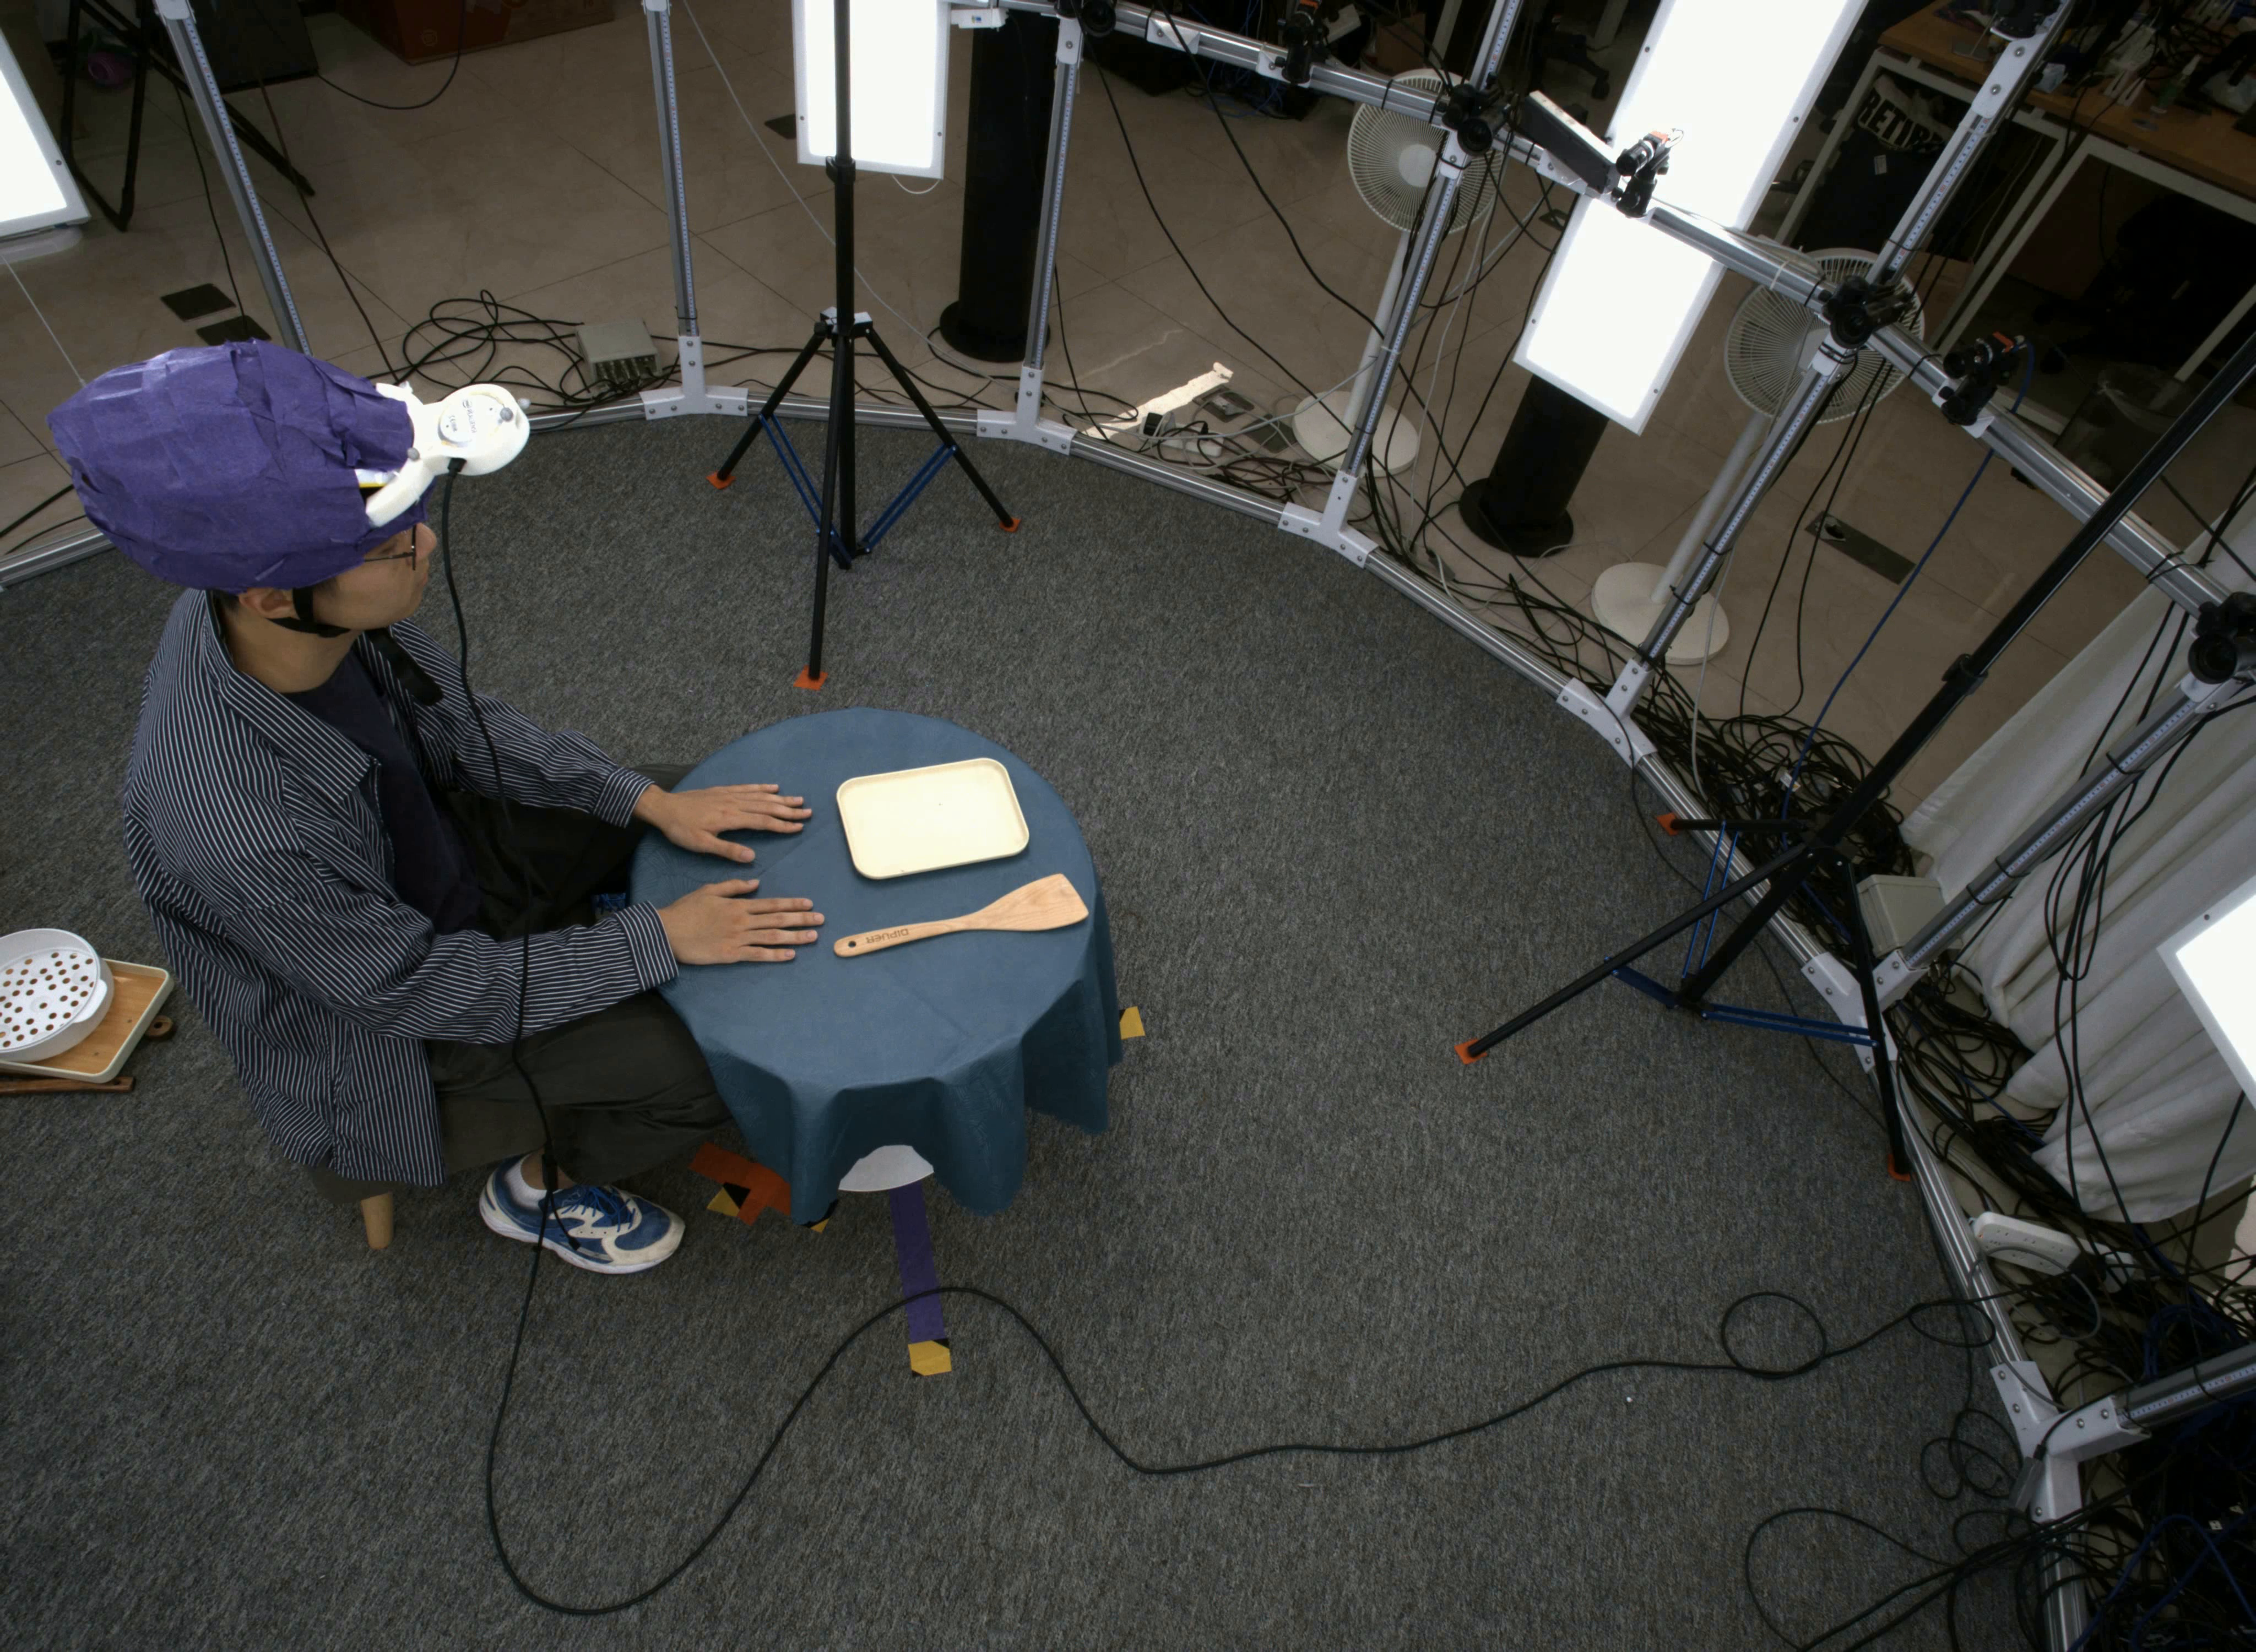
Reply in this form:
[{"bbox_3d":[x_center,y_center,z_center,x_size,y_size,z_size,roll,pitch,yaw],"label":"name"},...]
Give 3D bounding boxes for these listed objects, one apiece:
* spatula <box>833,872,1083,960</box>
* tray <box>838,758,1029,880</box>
[{"bbox_3d":[-0.221,0.122,1.689,0.329,0.017,0.078,-12,57,-22],"label":"spatula"},{"bbox_3d":[-0.265,-0.010,1.775,0.240,0.018,0.167,-10,57,-20],"label":"tray"}]
